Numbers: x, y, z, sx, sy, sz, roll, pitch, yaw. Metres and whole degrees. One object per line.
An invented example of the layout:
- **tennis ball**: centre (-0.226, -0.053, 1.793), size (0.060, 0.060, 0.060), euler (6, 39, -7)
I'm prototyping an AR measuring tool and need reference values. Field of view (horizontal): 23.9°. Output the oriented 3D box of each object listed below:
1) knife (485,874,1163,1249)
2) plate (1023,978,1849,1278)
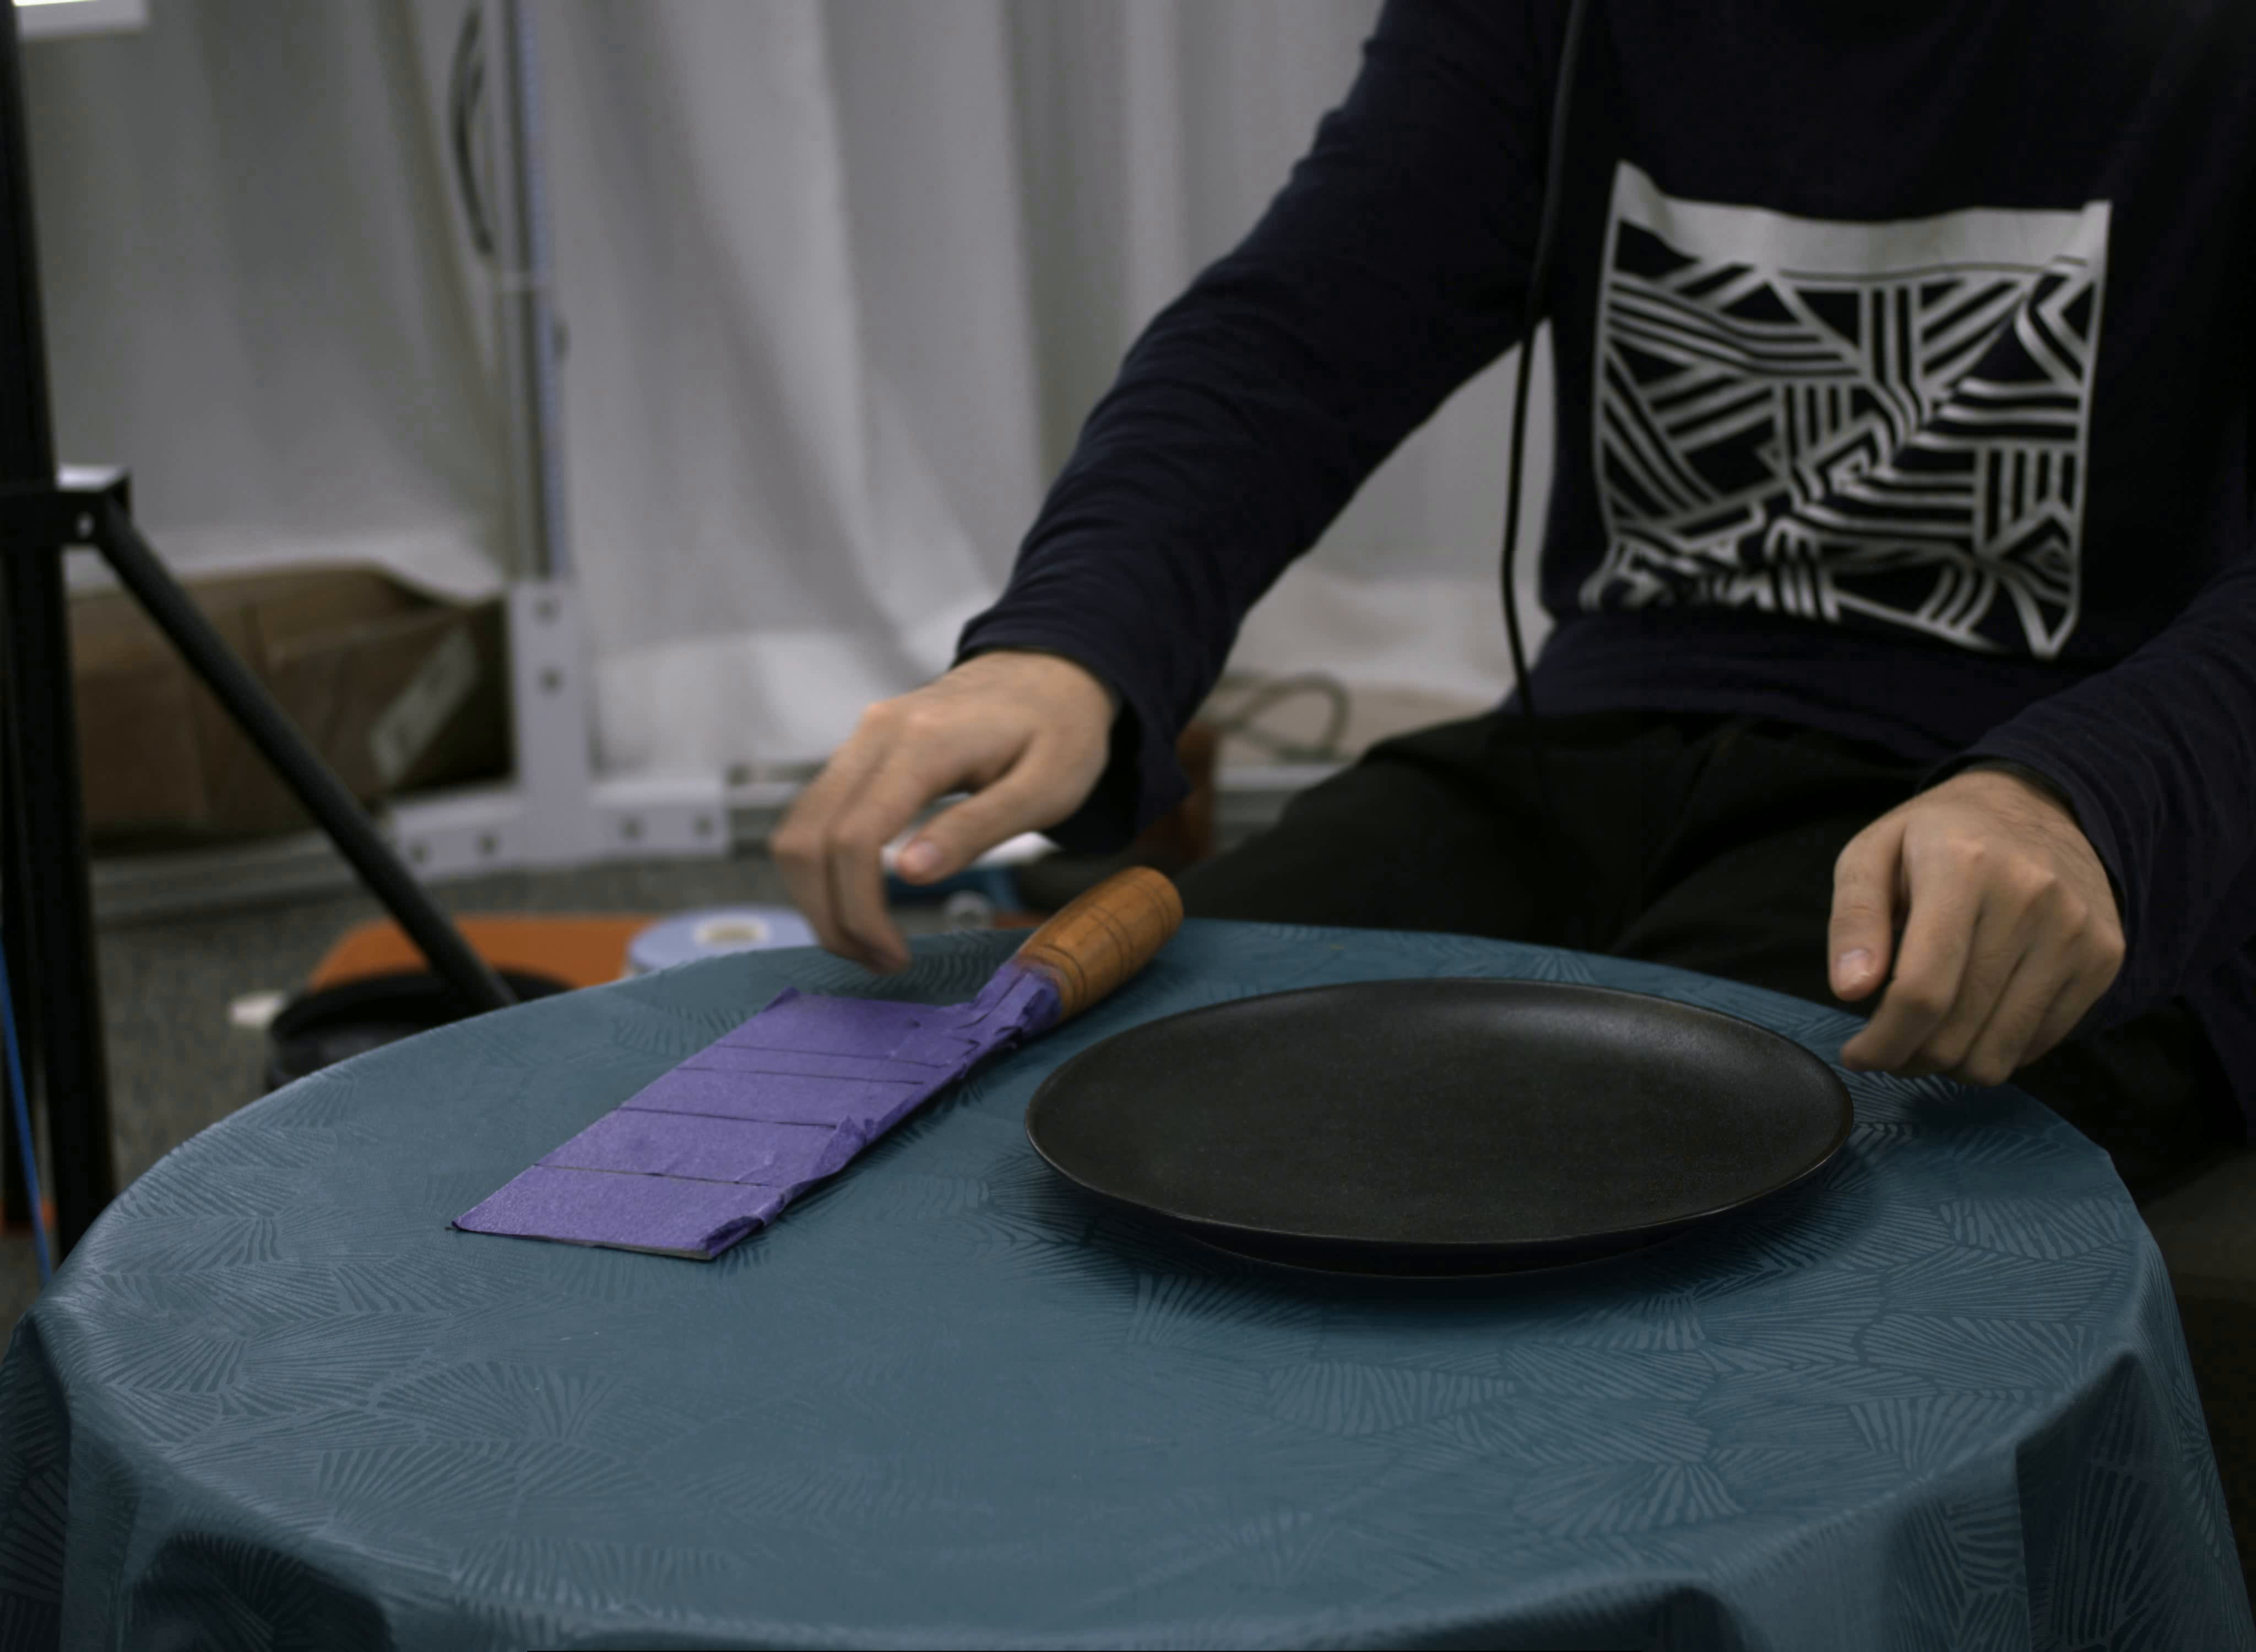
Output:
- **knife**: centre (-0.091, 0.069, 1.664), size (0.105, 0.032, 0.310), euler (5, 18, 25)
- **plate**: centre (0.091, 0.092, 1.565), size (0.243, 0.023, 0.245), euler (-3, 16, -1)
